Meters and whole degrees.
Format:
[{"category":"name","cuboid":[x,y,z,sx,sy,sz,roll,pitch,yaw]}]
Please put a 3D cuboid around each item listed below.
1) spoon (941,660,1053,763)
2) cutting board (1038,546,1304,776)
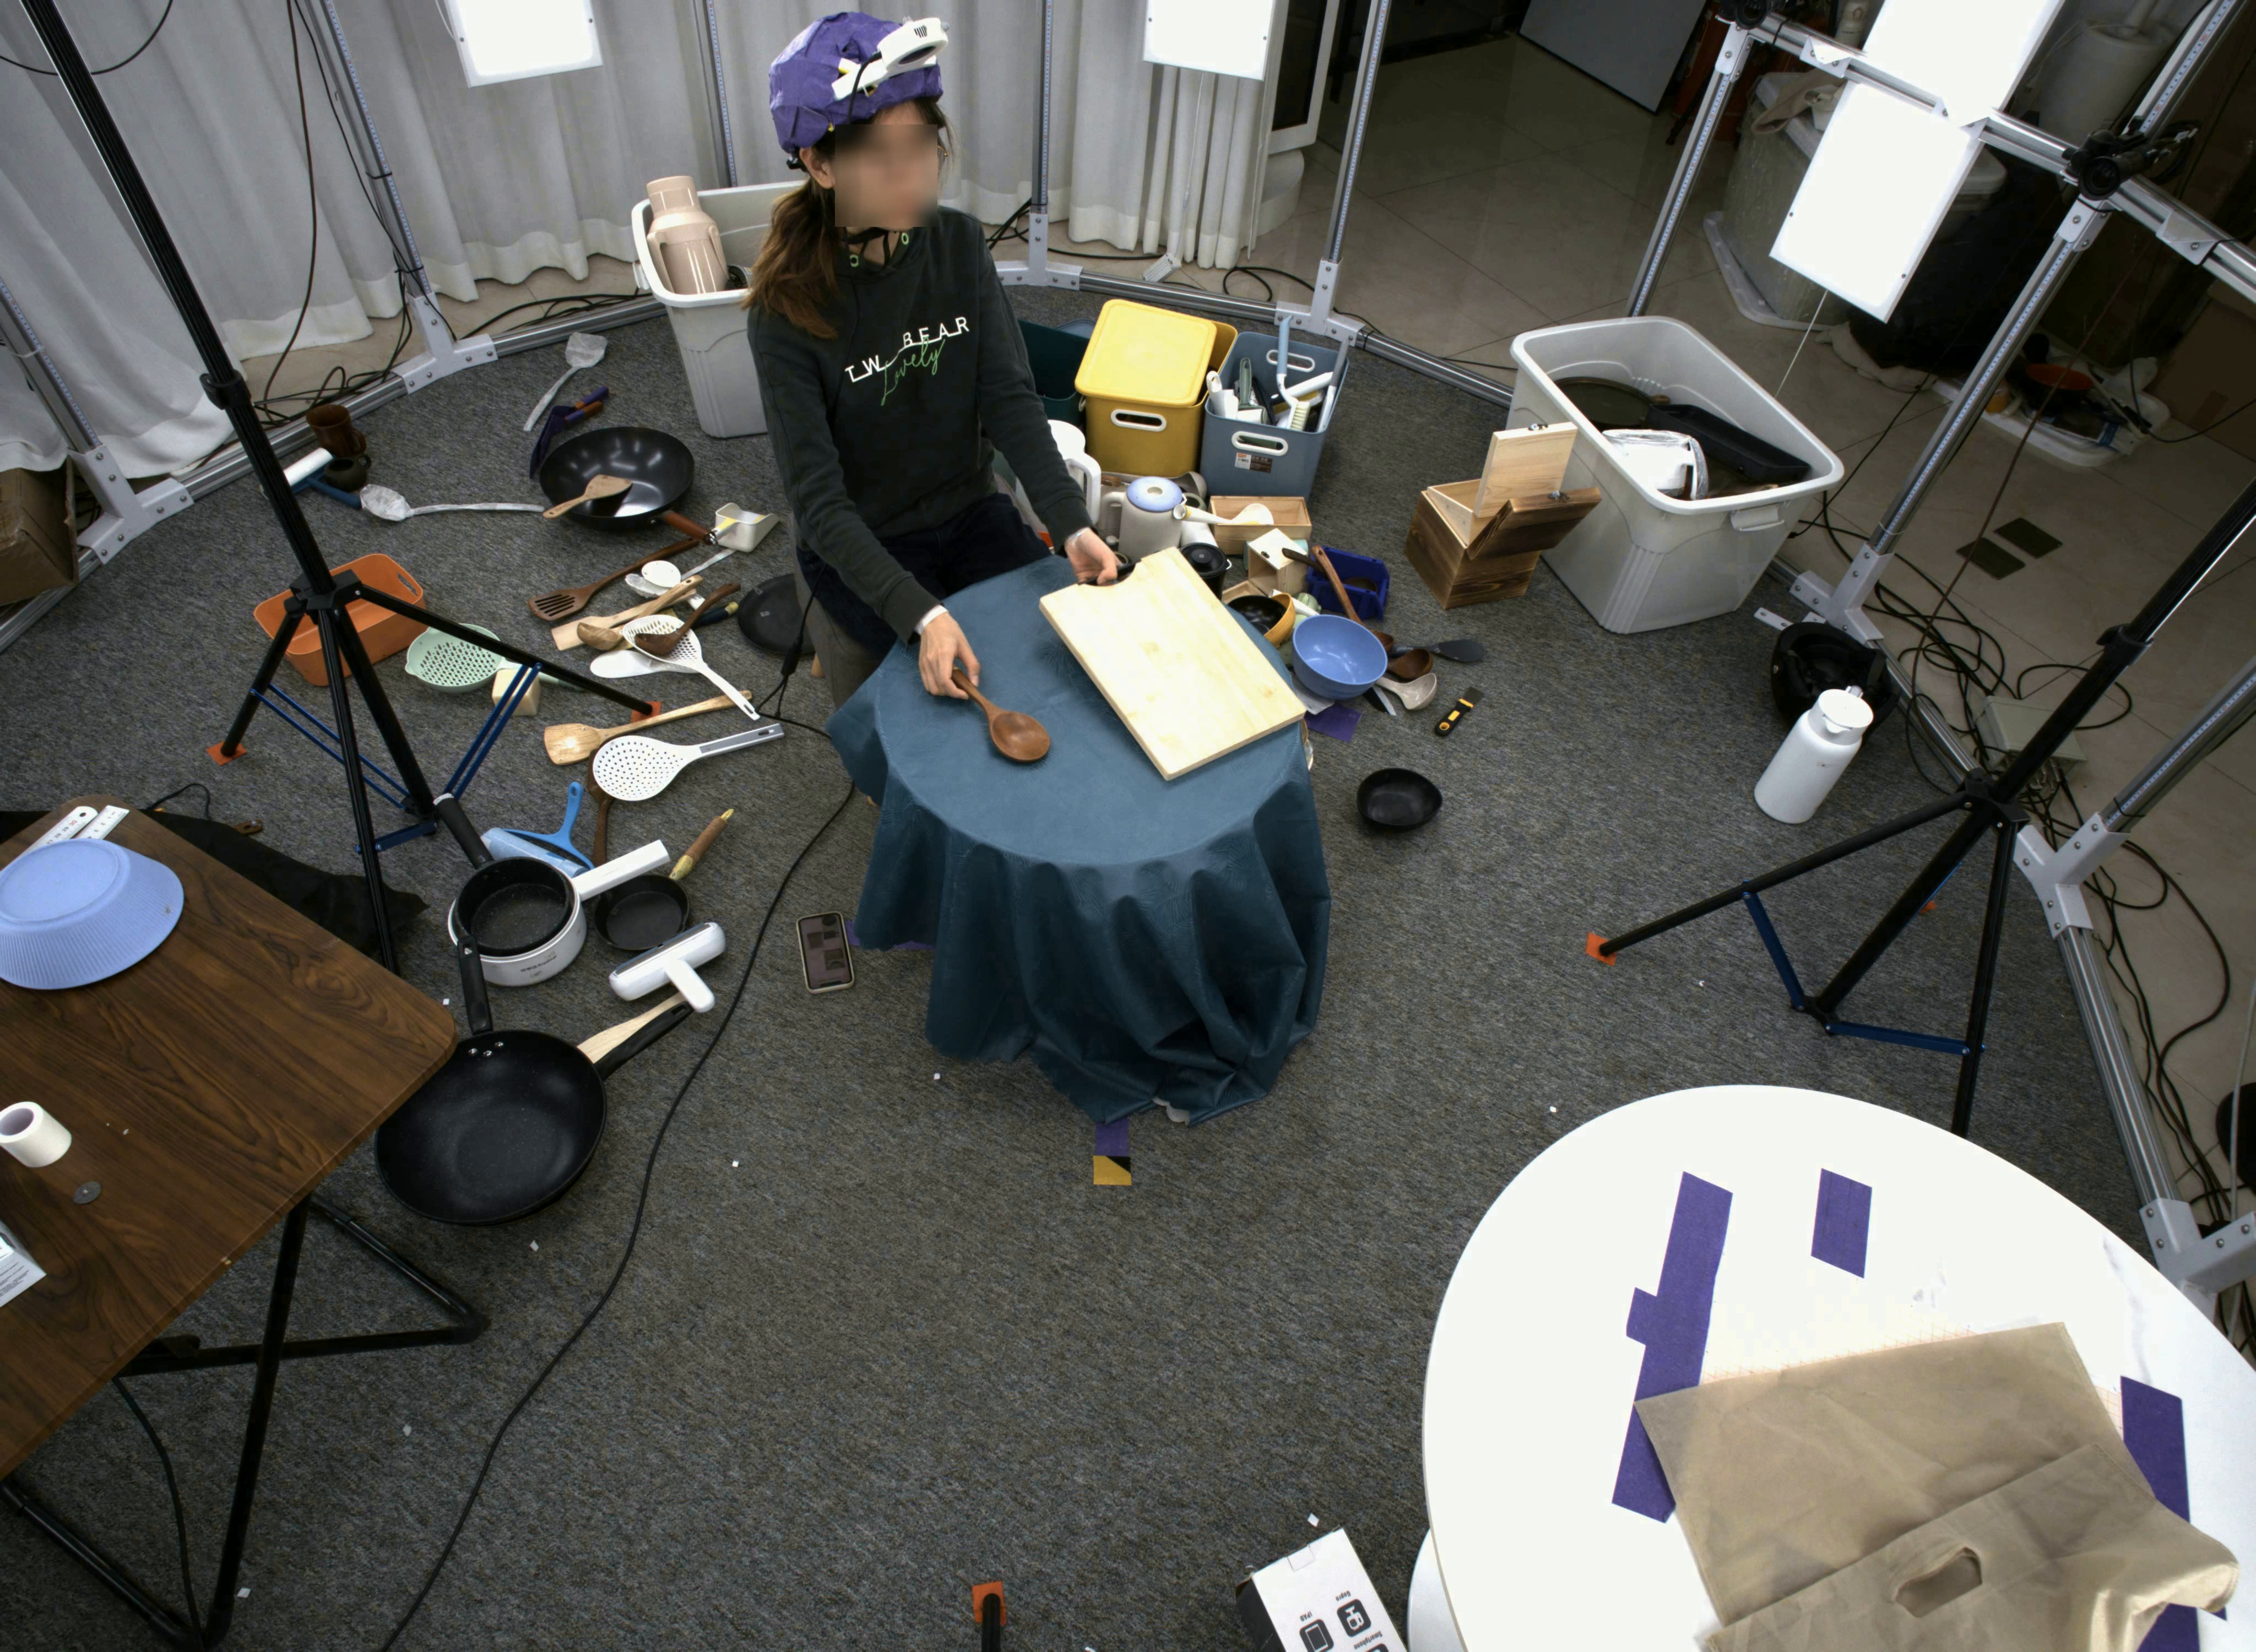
[{"category":"spoon","cuboid":[-0.188,-0.161,1.790,0.076,0.017,0.219,-34,66,-26]},{"category":"cutting board","cuboid":[0.059,-0.245,1.853,0.252,0.023,0.354,-25,64,-24]}]
